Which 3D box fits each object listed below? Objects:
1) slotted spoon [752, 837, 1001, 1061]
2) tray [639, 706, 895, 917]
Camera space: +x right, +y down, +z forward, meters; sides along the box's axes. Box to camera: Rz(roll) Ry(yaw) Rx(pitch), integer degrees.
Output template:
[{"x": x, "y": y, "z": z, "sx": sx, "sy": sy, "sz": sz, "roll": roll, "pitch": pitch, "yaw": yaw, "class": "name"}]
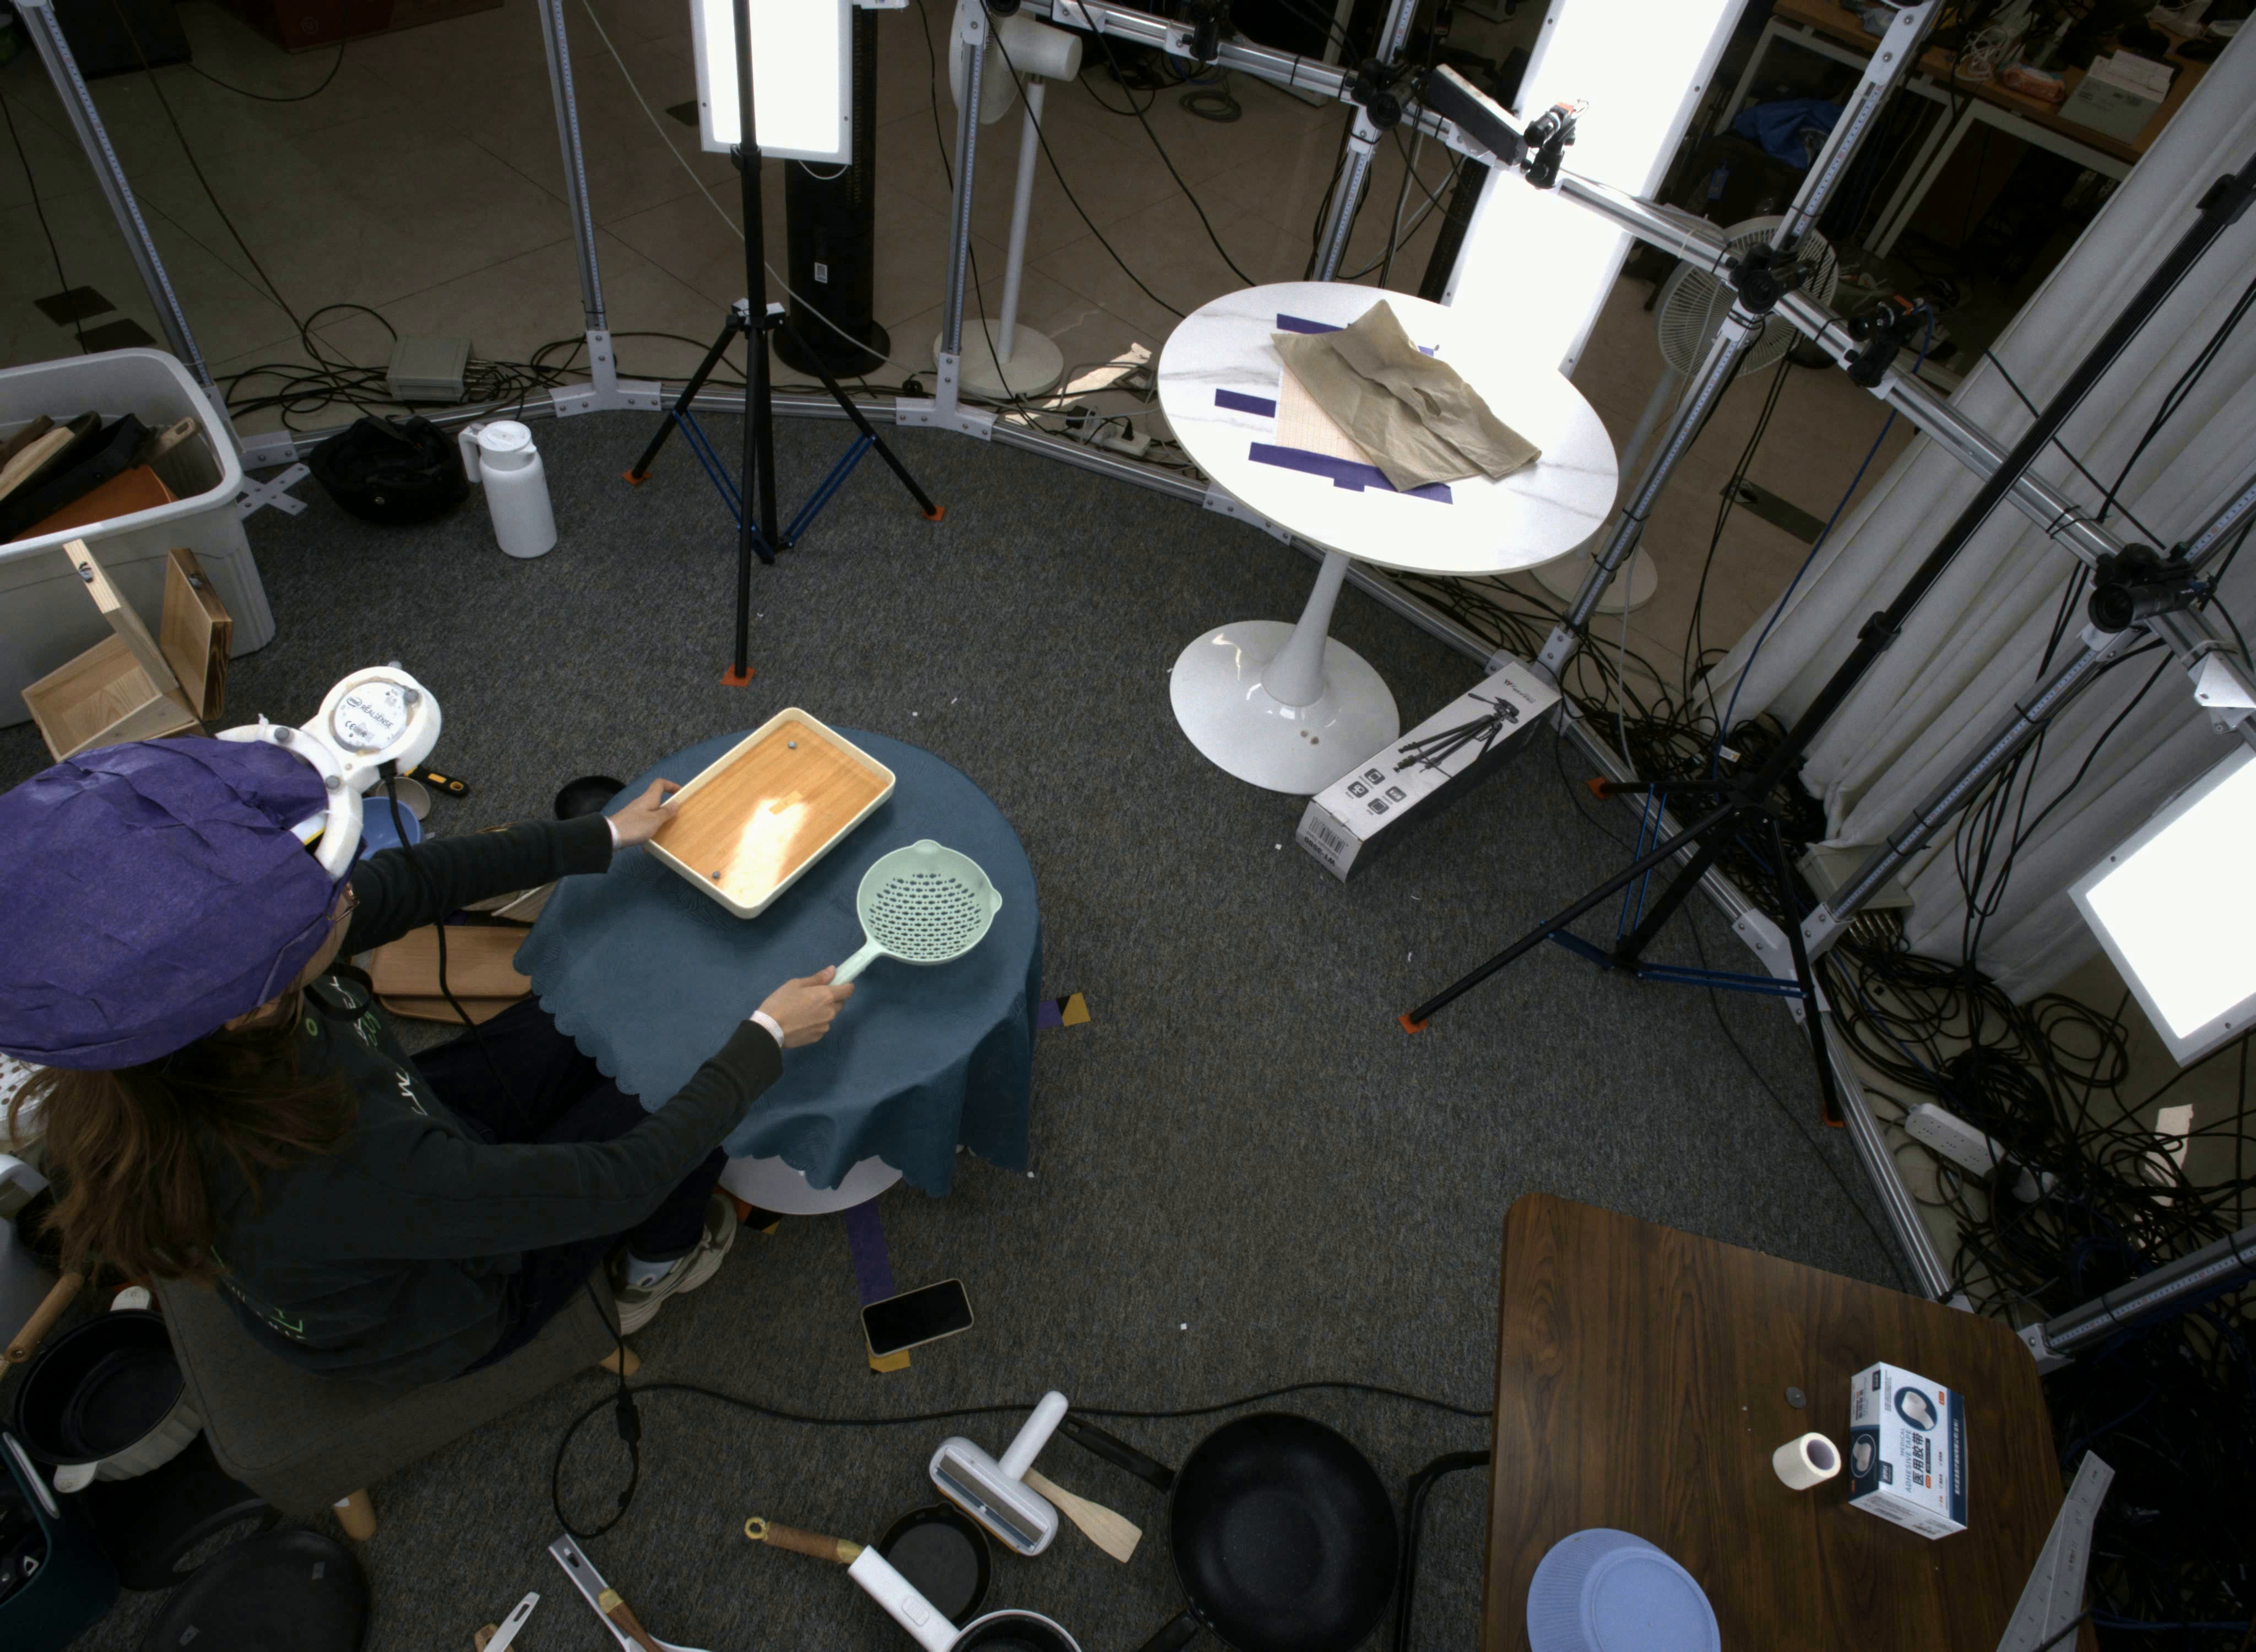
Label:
[{"x": -0.311, "y": 0.152, "z": 1.561, "sx": 0.166, "sy": 0.077, "sz": 0.359, "roll": 37, "pitch": 48, "yaw": 15, "class": "slotted spoon"}, {"x": -0.462, "y": -0.027, "z": 1.672, "sx": 0.189, "sy": 0.028, "sz": 0.299, "roll": 35, "pitch": 49, "yaw": 7, "class": "tray"}]
